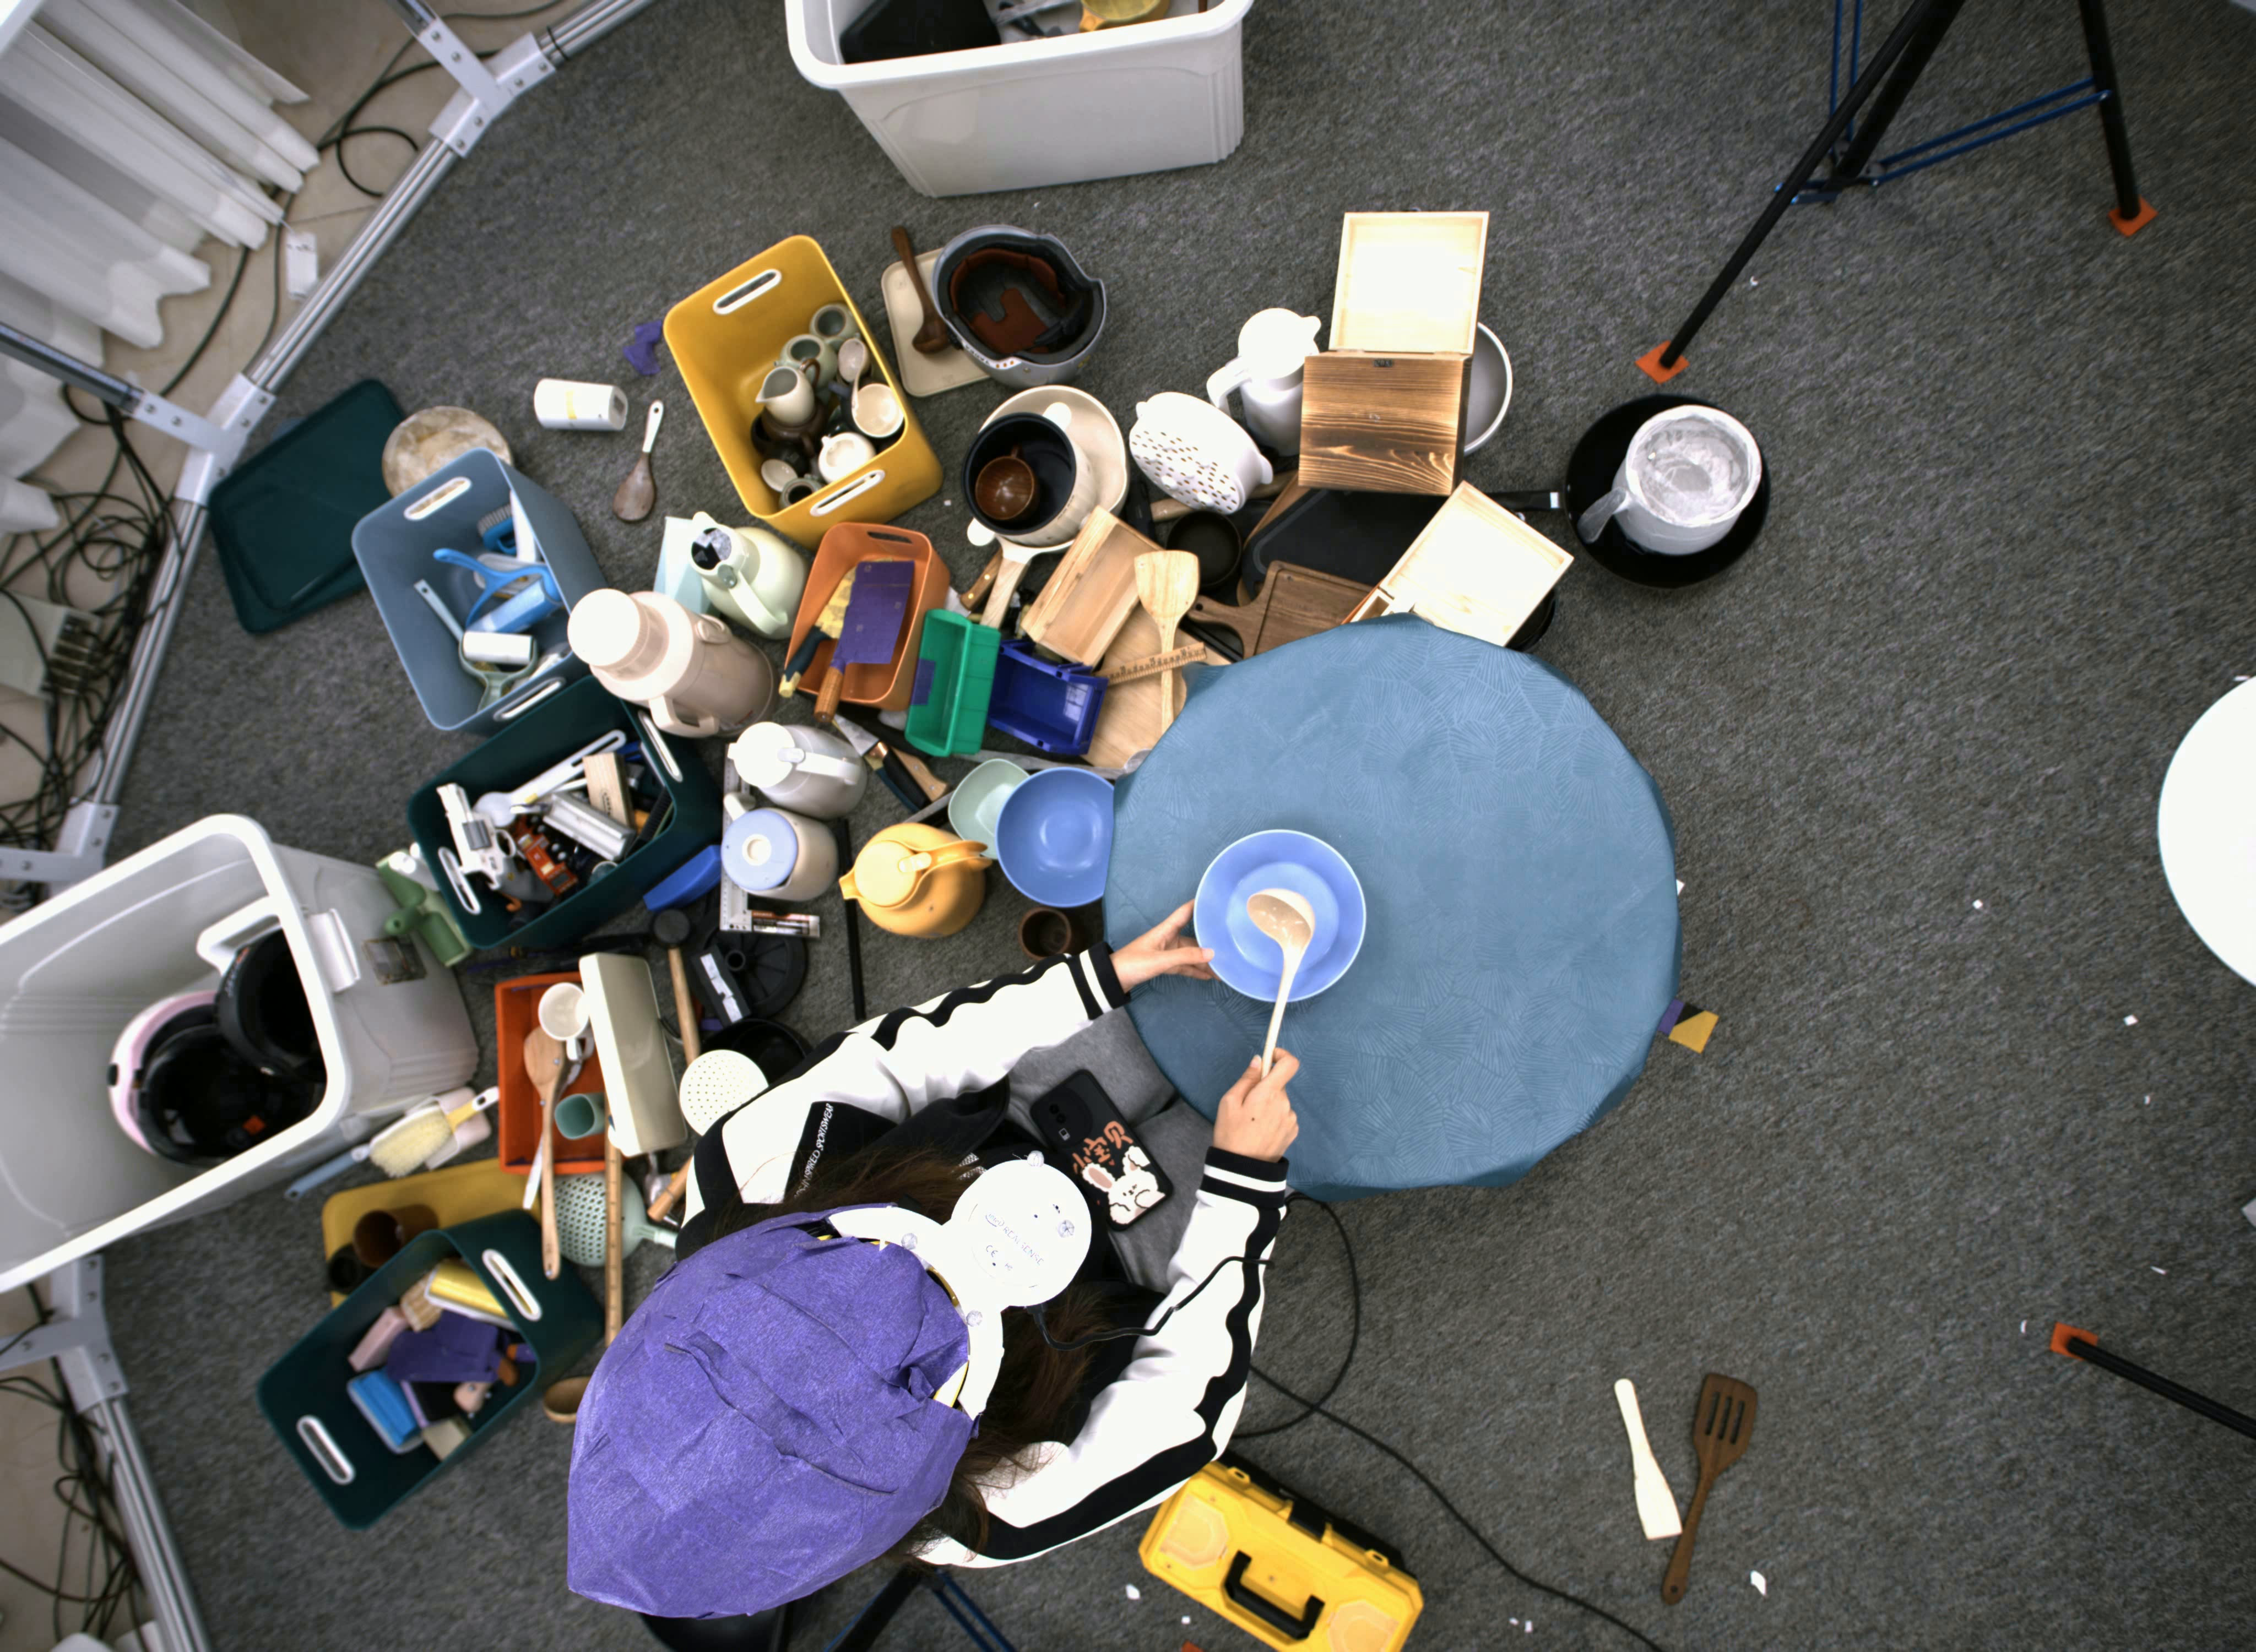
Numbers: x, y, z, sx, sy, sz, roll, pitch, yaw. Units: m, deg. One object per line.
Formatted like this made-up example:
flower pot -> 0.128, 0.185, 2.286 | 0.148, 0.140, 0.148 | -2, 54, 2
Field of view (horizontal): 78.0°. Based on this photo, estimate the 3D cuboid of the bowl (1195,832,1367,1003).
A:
bowl -> 0.160, 0.096, 1.444 | 0.177, 0.070, 0.175 | -1, 85, 11

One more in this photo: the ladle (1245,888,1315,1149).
ladle -> 0.132, 0.184, 1.369 | 0.073, 0.073, 0.251 | -4, 68, 46
